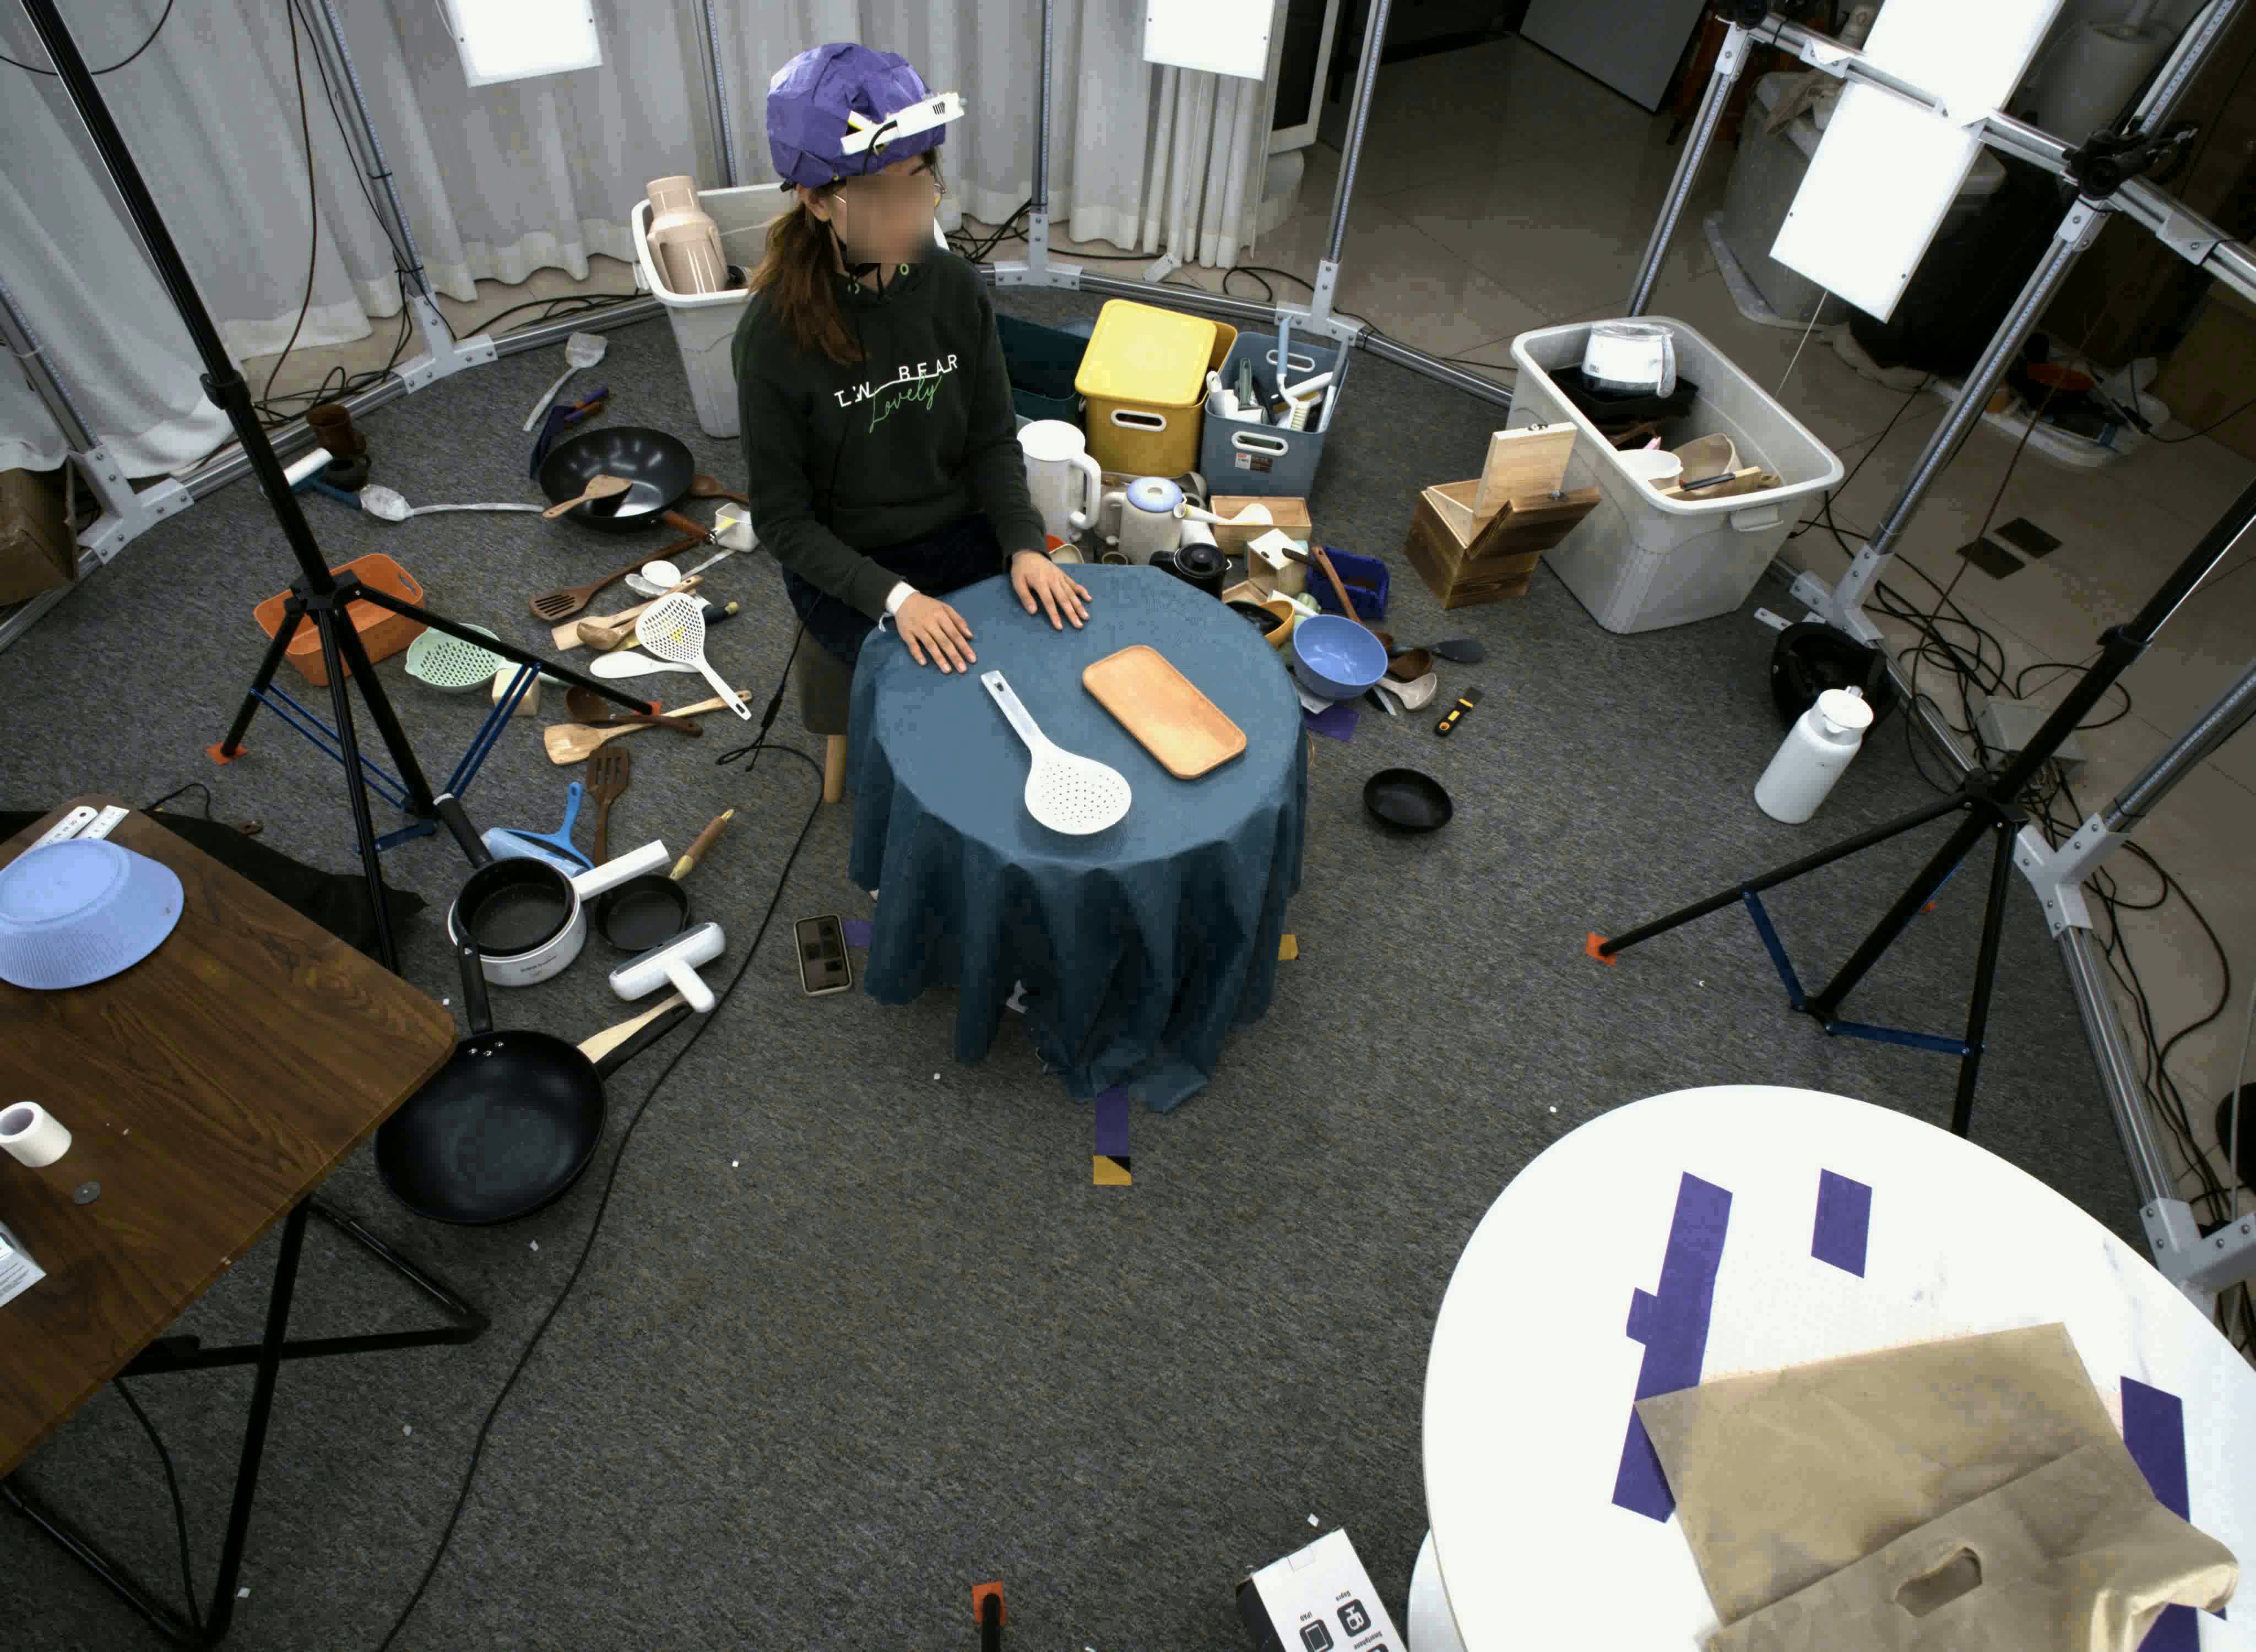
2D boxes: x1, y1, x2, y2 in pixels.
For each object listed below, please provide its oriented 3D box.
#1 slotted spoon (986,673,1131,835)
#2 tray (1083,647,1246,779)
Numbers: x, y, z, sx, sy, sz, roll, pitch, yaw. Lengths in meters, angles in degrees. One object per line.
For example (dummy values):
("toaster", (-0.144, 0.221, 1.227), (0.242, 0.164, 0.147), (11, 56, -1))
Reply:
("slotted spoon", (-0.115, -0.102, 1.736), (0.136, 0.044, 0.357), (-18, 51, -21))
("tray", (0.049, -0.163, 1.818), (0.131, 0.022, 0.255), (-26, 54, -26))
